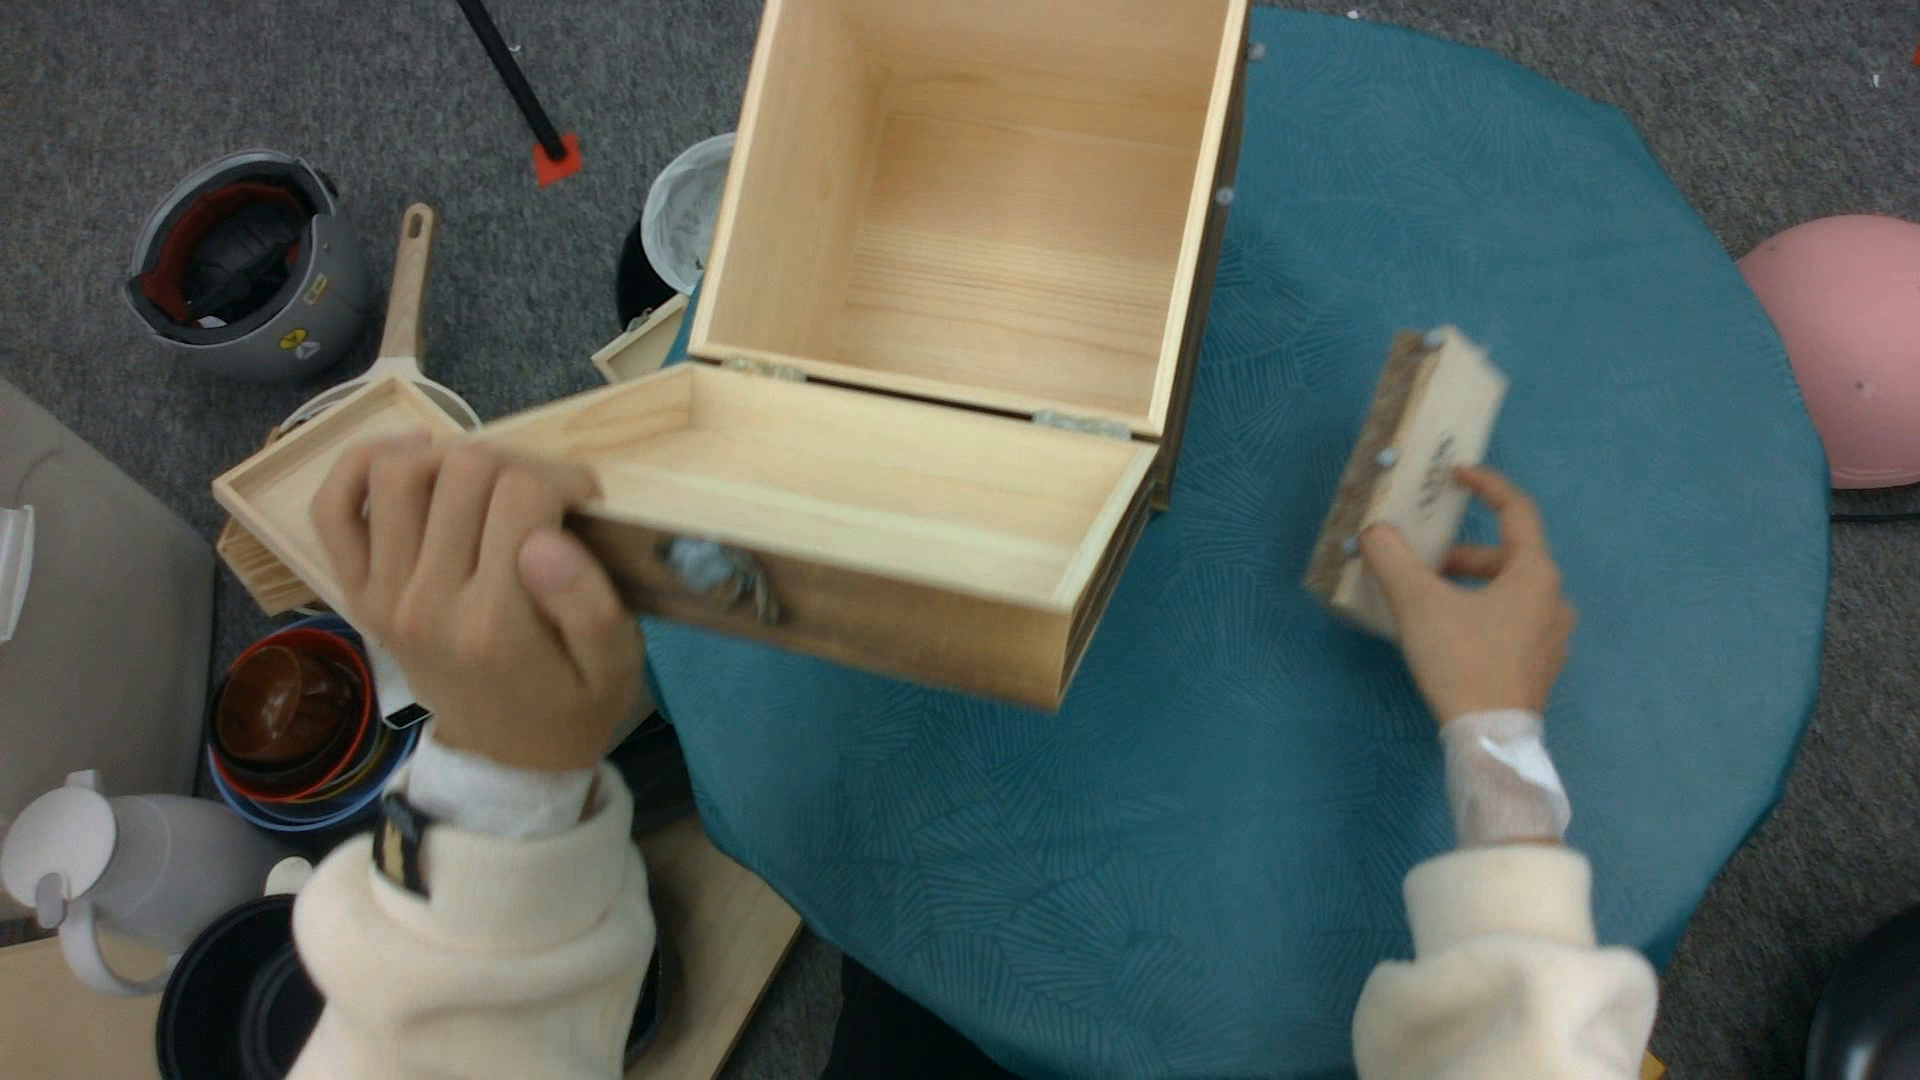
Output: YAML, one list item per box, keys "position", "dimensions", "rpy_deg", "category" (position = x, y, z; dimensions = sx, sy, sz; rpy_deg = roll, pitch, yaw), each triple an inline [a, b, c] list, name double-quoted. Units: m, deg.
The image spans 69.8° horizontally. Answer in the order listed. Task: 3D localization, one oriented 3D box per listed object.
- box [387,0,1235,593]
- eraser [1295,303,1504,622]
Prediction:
- position: [-0.011, -0.118, 0.550]
  dimensions: [0.208, 0.375, 0.322]
  rpy_deg: [10, 82, 9]
  category: "box"
- position: [0.204, -0.037, 0.638]
  dimensions: [0.029, 0.057, 0.139]
  rpy_deg: [15, 77, 54]
  category: "eraser"
